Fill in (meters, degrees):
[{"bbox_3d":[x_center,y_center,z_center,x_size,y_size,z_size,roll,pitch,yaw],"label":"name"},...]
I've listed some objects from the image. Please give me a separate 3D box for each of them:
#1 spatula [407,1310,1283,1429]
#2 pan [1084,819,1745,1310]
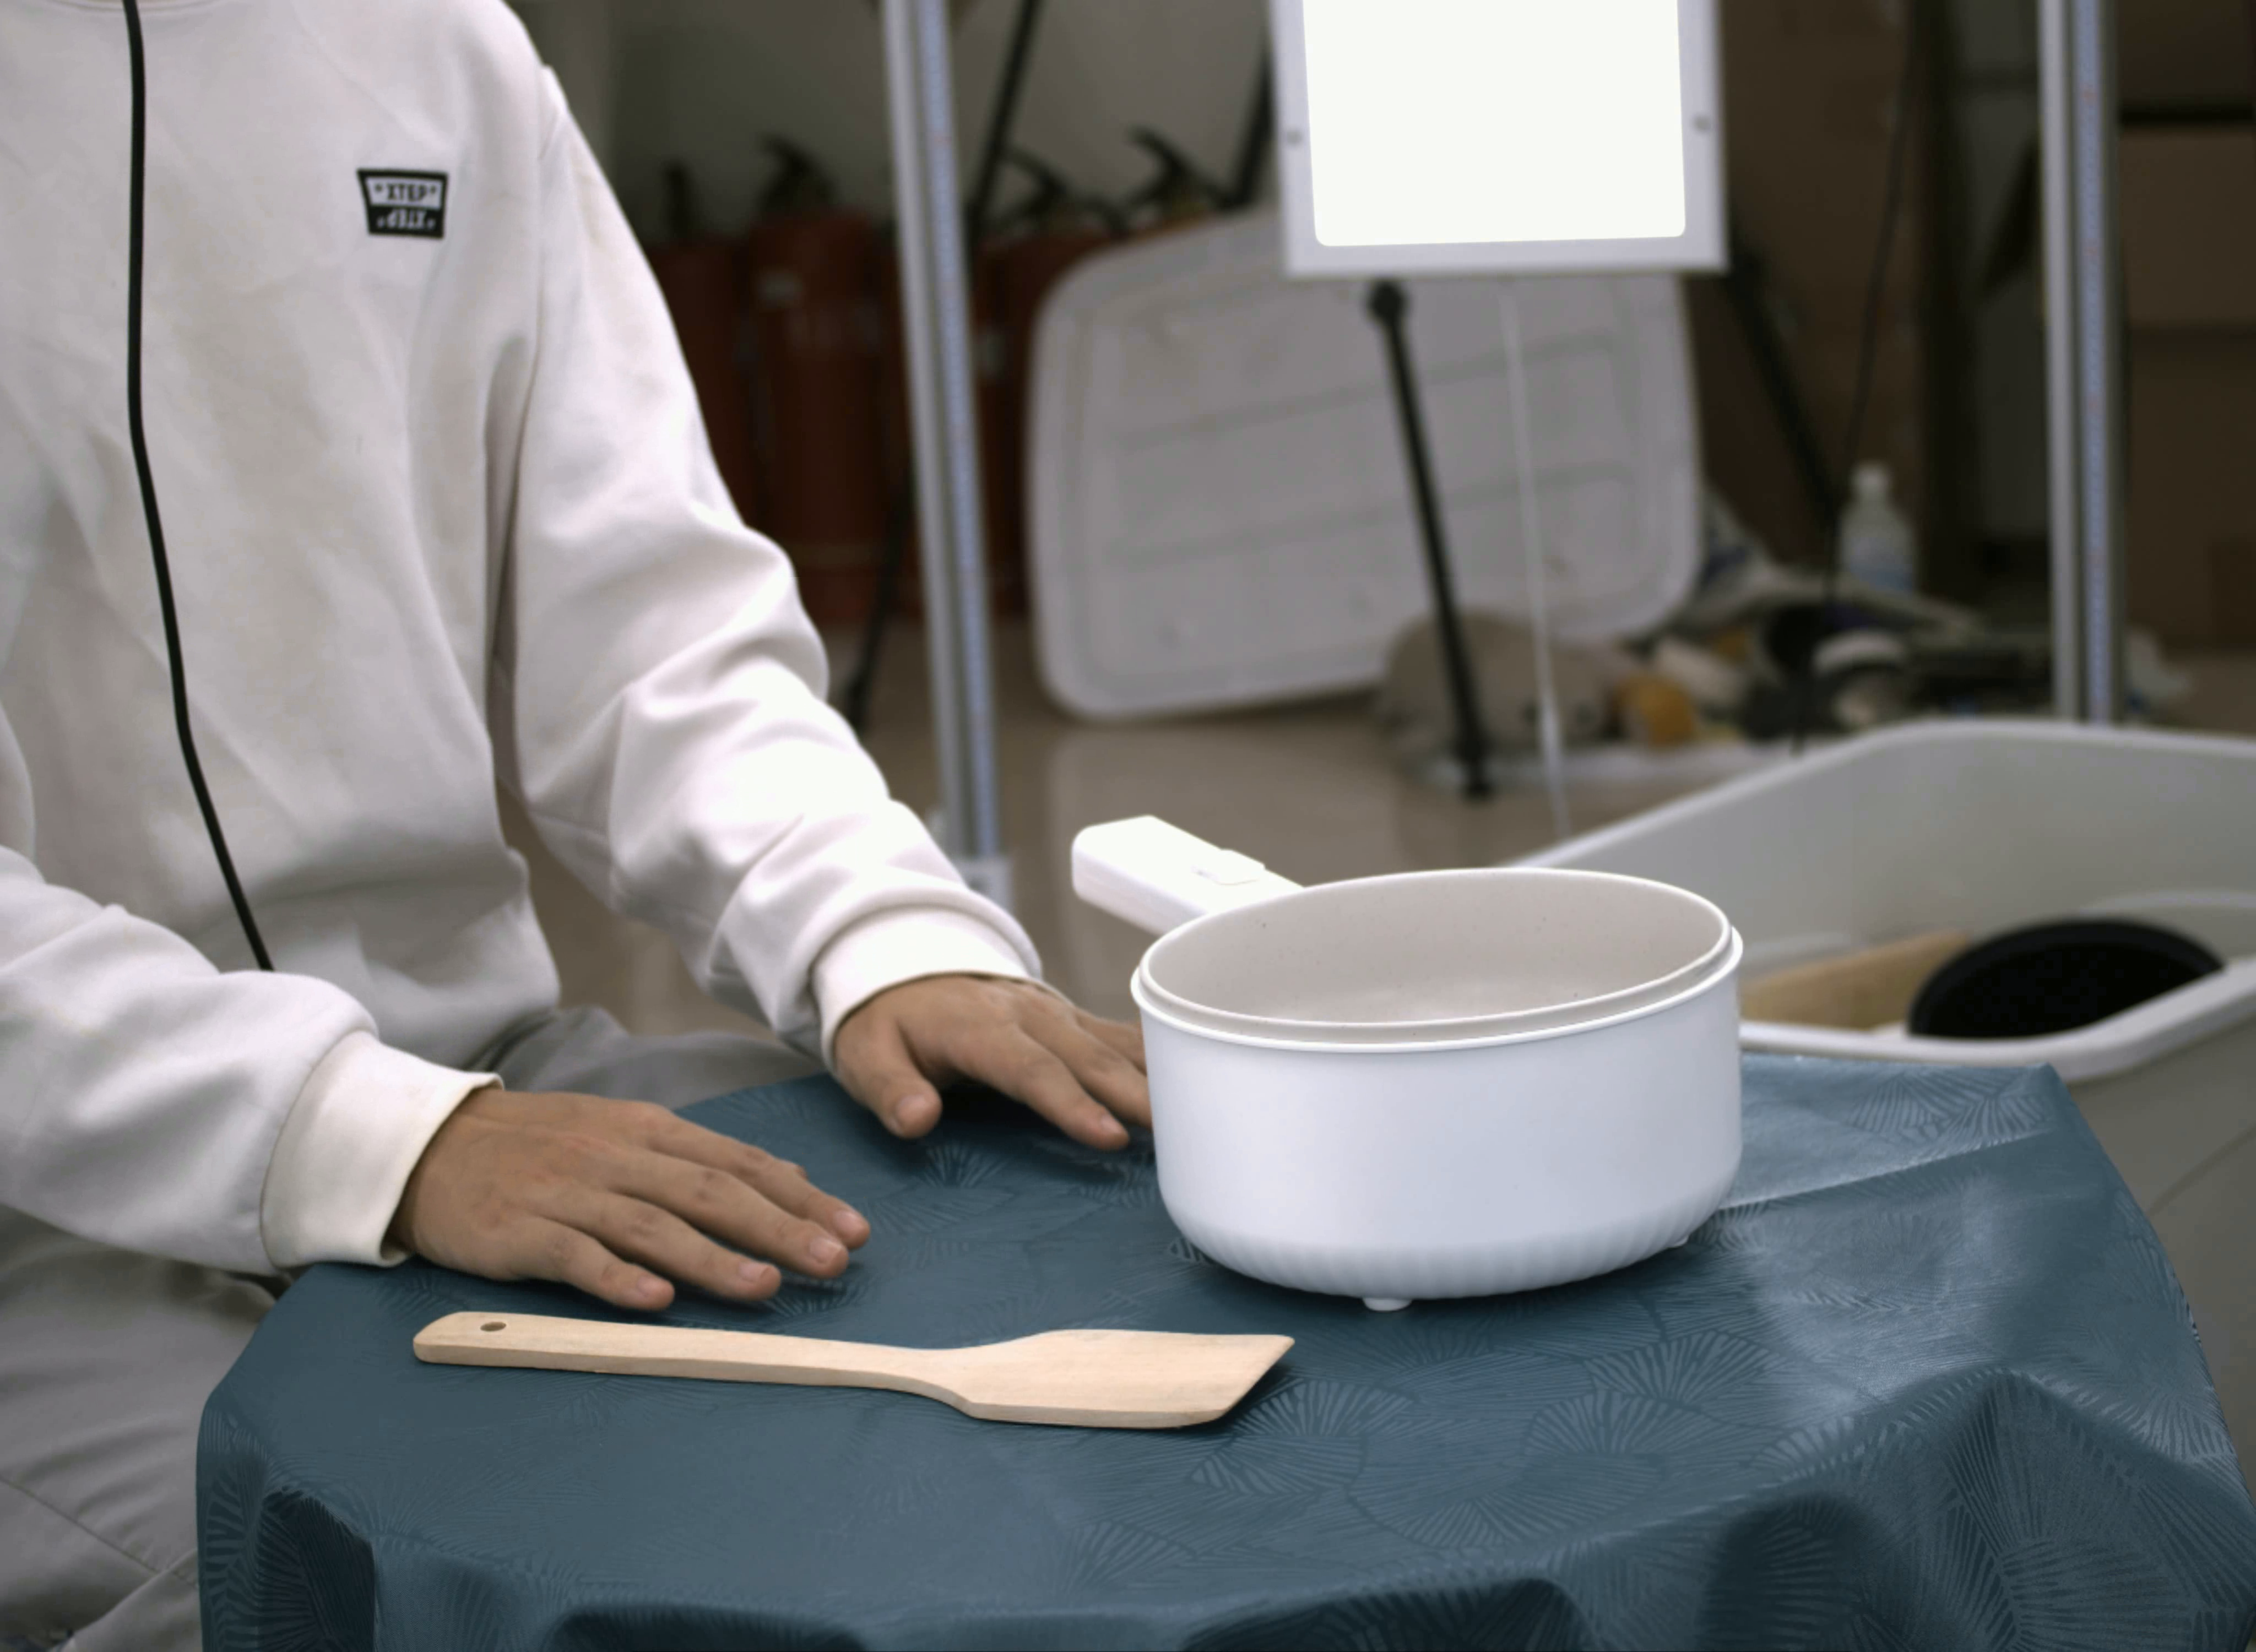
[{"bbox_3d":[-0.097,0.169,1.742,0.297,0.011,0.071,1,16,24],"label":"spatula"},{"bbox_3d":[0.074,0.074,1.880,0.197,0.102,0.360,-11,14,-22],"label":"pan"}]
